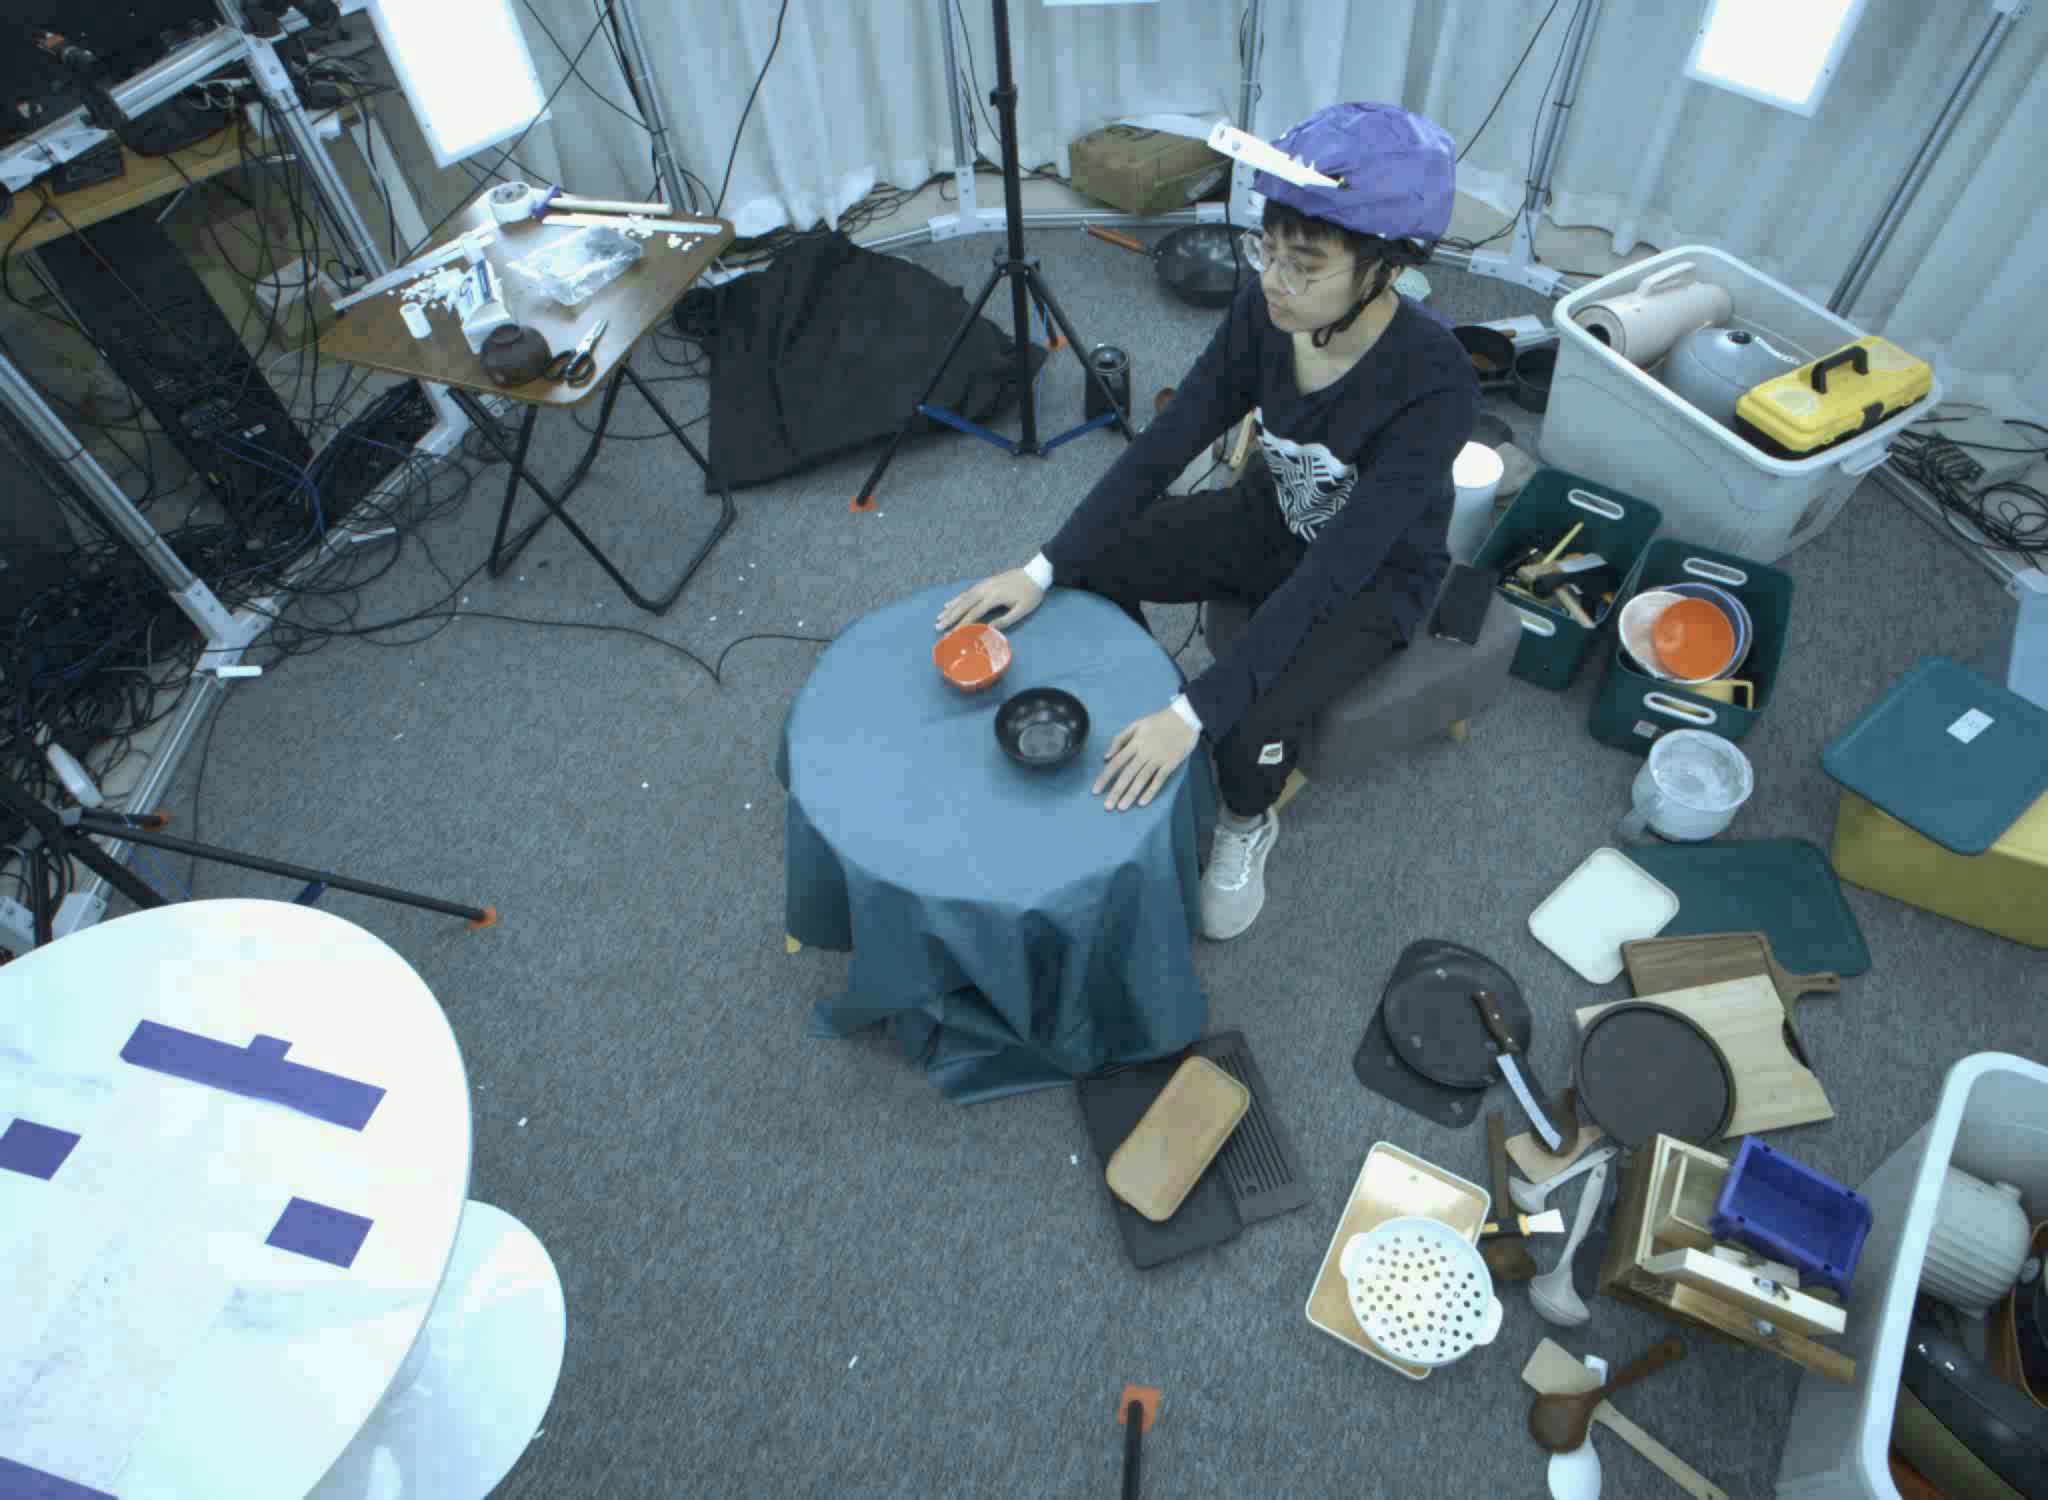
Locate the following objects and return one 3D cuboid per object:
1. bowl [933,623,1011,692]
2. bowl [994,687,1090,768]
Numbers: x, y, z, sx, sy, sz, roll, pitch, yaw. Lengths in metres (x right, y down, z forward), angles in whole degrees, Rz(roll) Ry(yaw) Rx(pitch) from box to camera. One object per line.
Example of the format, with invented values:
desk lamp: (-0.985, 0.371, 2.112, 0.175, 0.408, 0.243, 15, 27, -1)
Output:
bowl: (-0.076, -0.133, 1.859, 0.118, 0.052, 0.117, -2, 55, 3)
bowl: (0.026, -0.023, 1.784, 0.140, 0.050, 0.138, 2, 52, -2)
